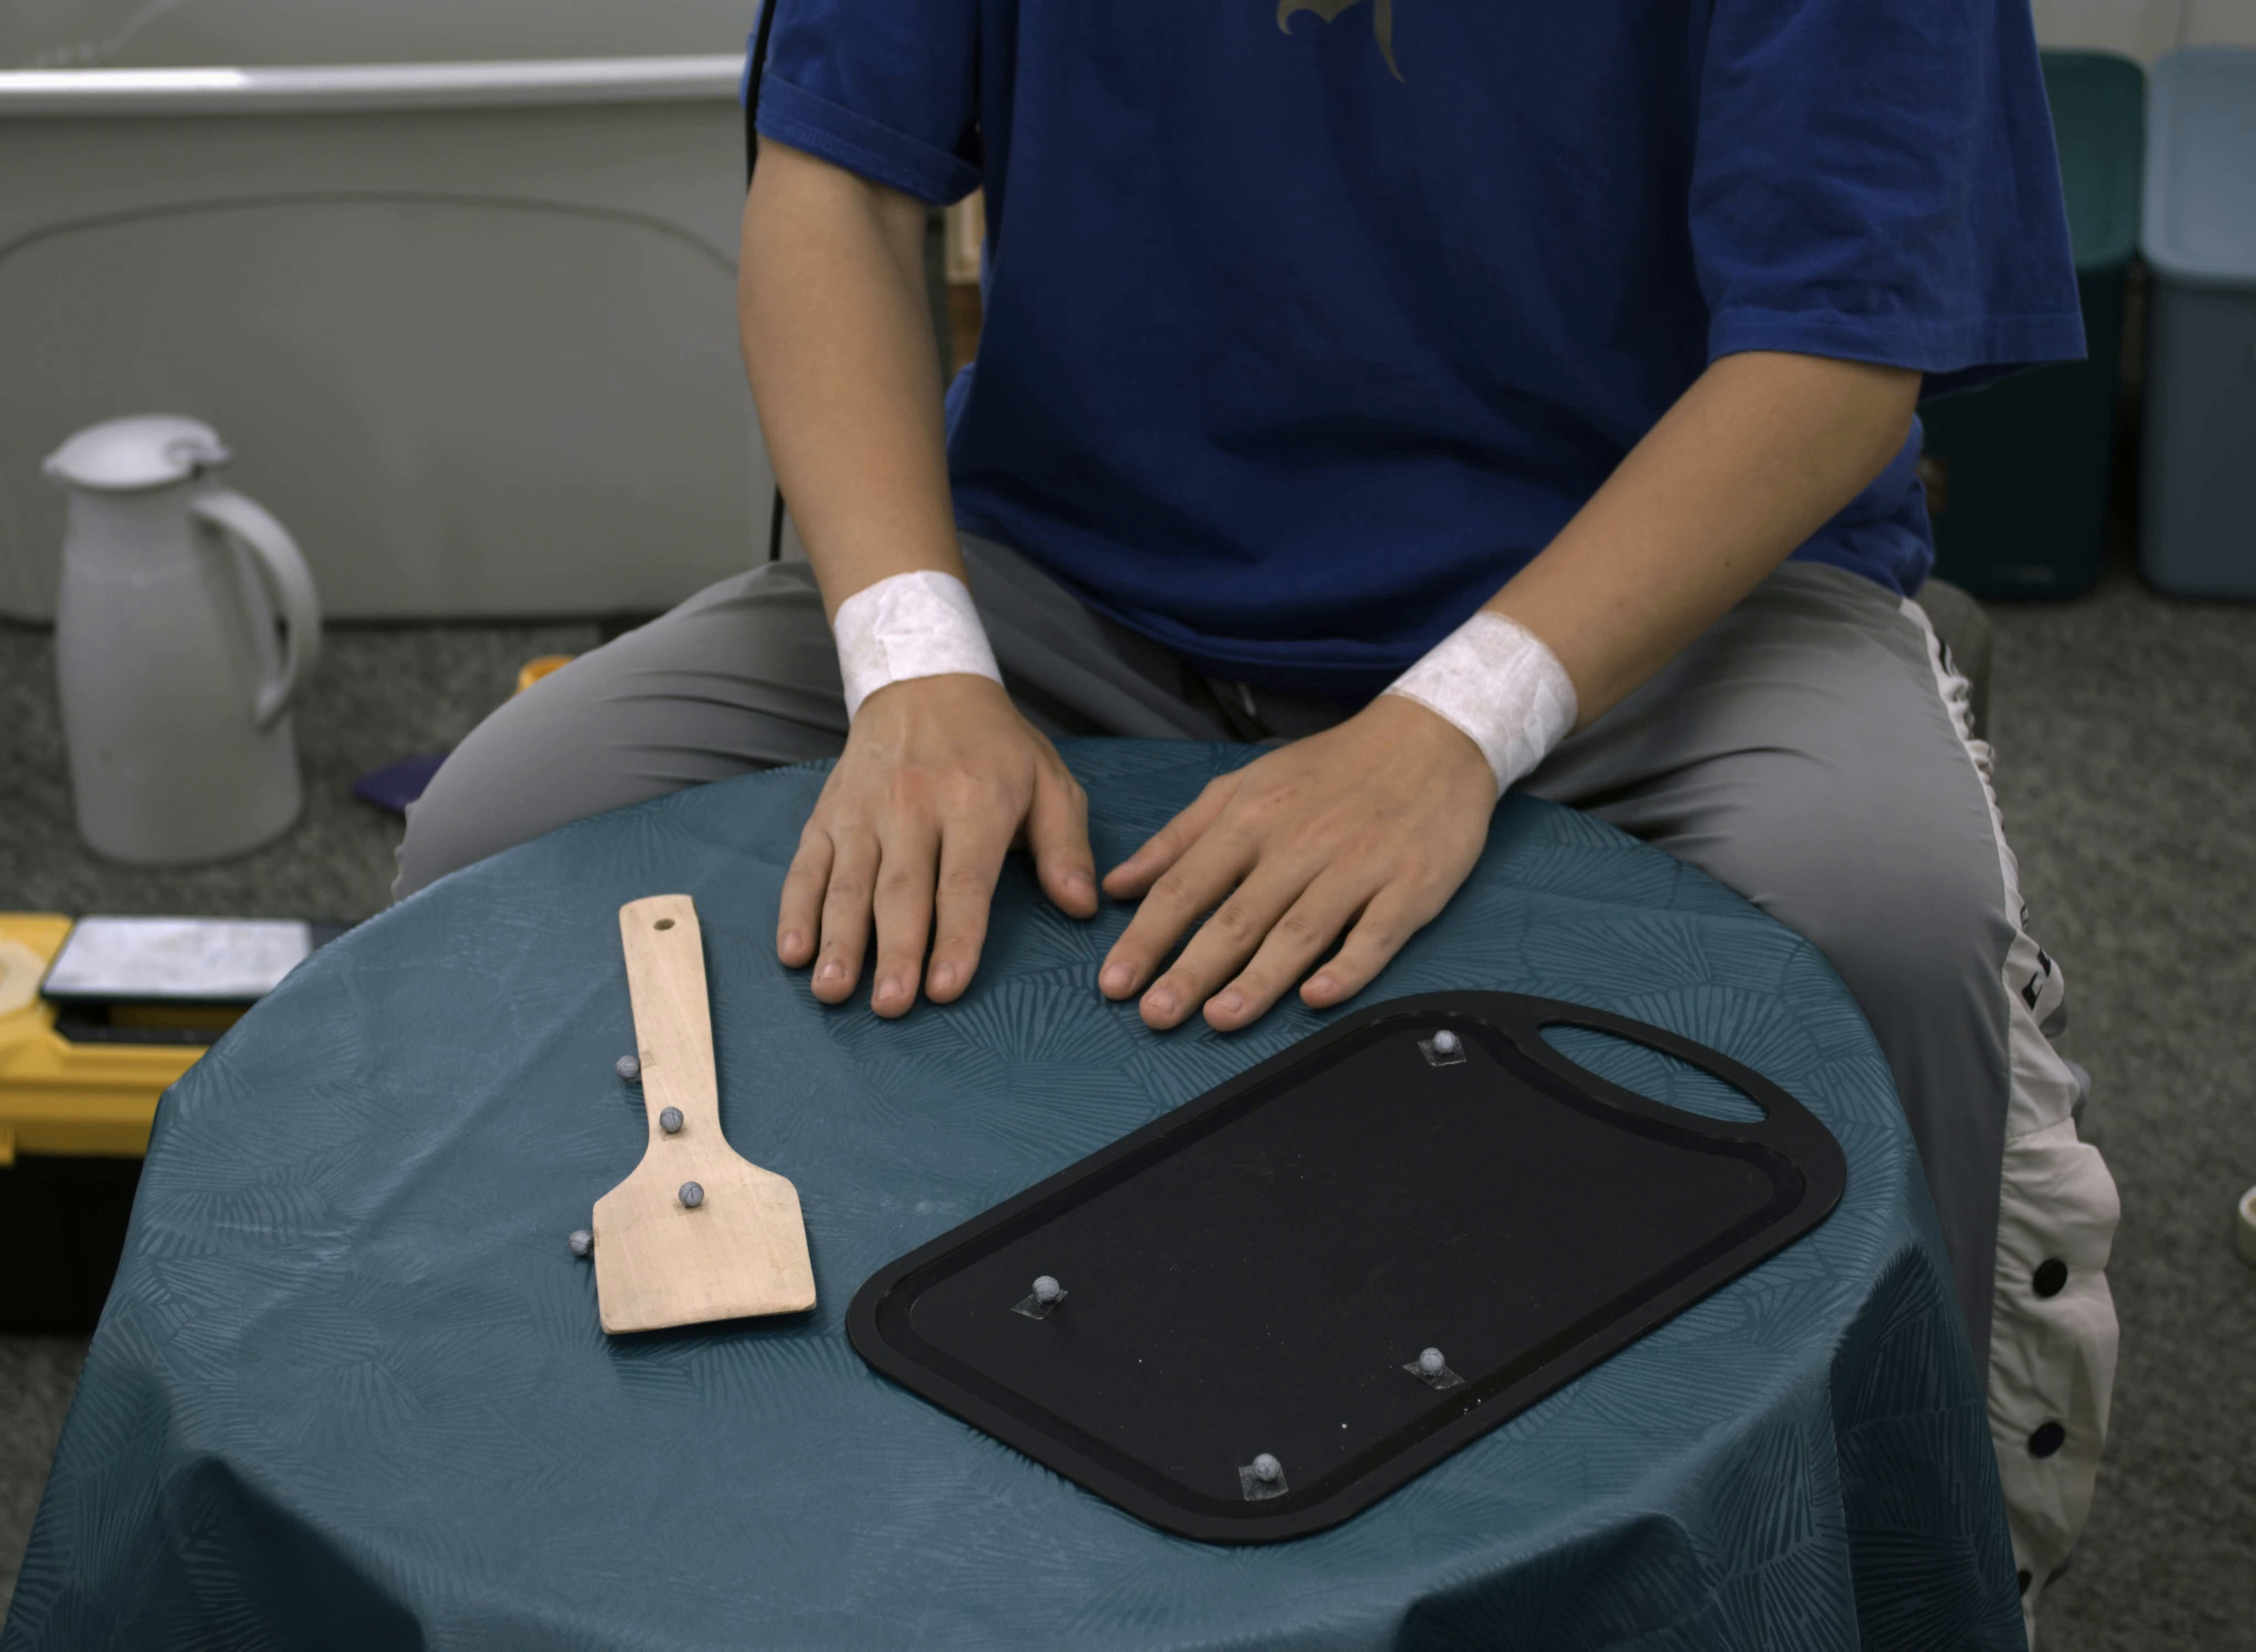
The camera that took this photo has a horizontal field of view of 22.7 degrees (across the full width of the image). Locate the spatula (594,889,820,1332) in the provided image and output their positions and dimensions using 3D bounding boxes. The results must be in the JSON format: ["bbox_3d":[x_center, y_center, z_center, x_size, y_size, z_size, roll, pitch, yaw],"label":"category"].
[{"bbox_3d":[-0.152,0.093,1.921,0.072,0.010,0.297,-7,28,-5],"label":"spatula"}]

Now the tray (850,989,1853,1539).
[{"bbox_3d":[0.079,0.131,1.827,0.329,0.009,0.211,-25,35,-37],"label":"tray"}]
